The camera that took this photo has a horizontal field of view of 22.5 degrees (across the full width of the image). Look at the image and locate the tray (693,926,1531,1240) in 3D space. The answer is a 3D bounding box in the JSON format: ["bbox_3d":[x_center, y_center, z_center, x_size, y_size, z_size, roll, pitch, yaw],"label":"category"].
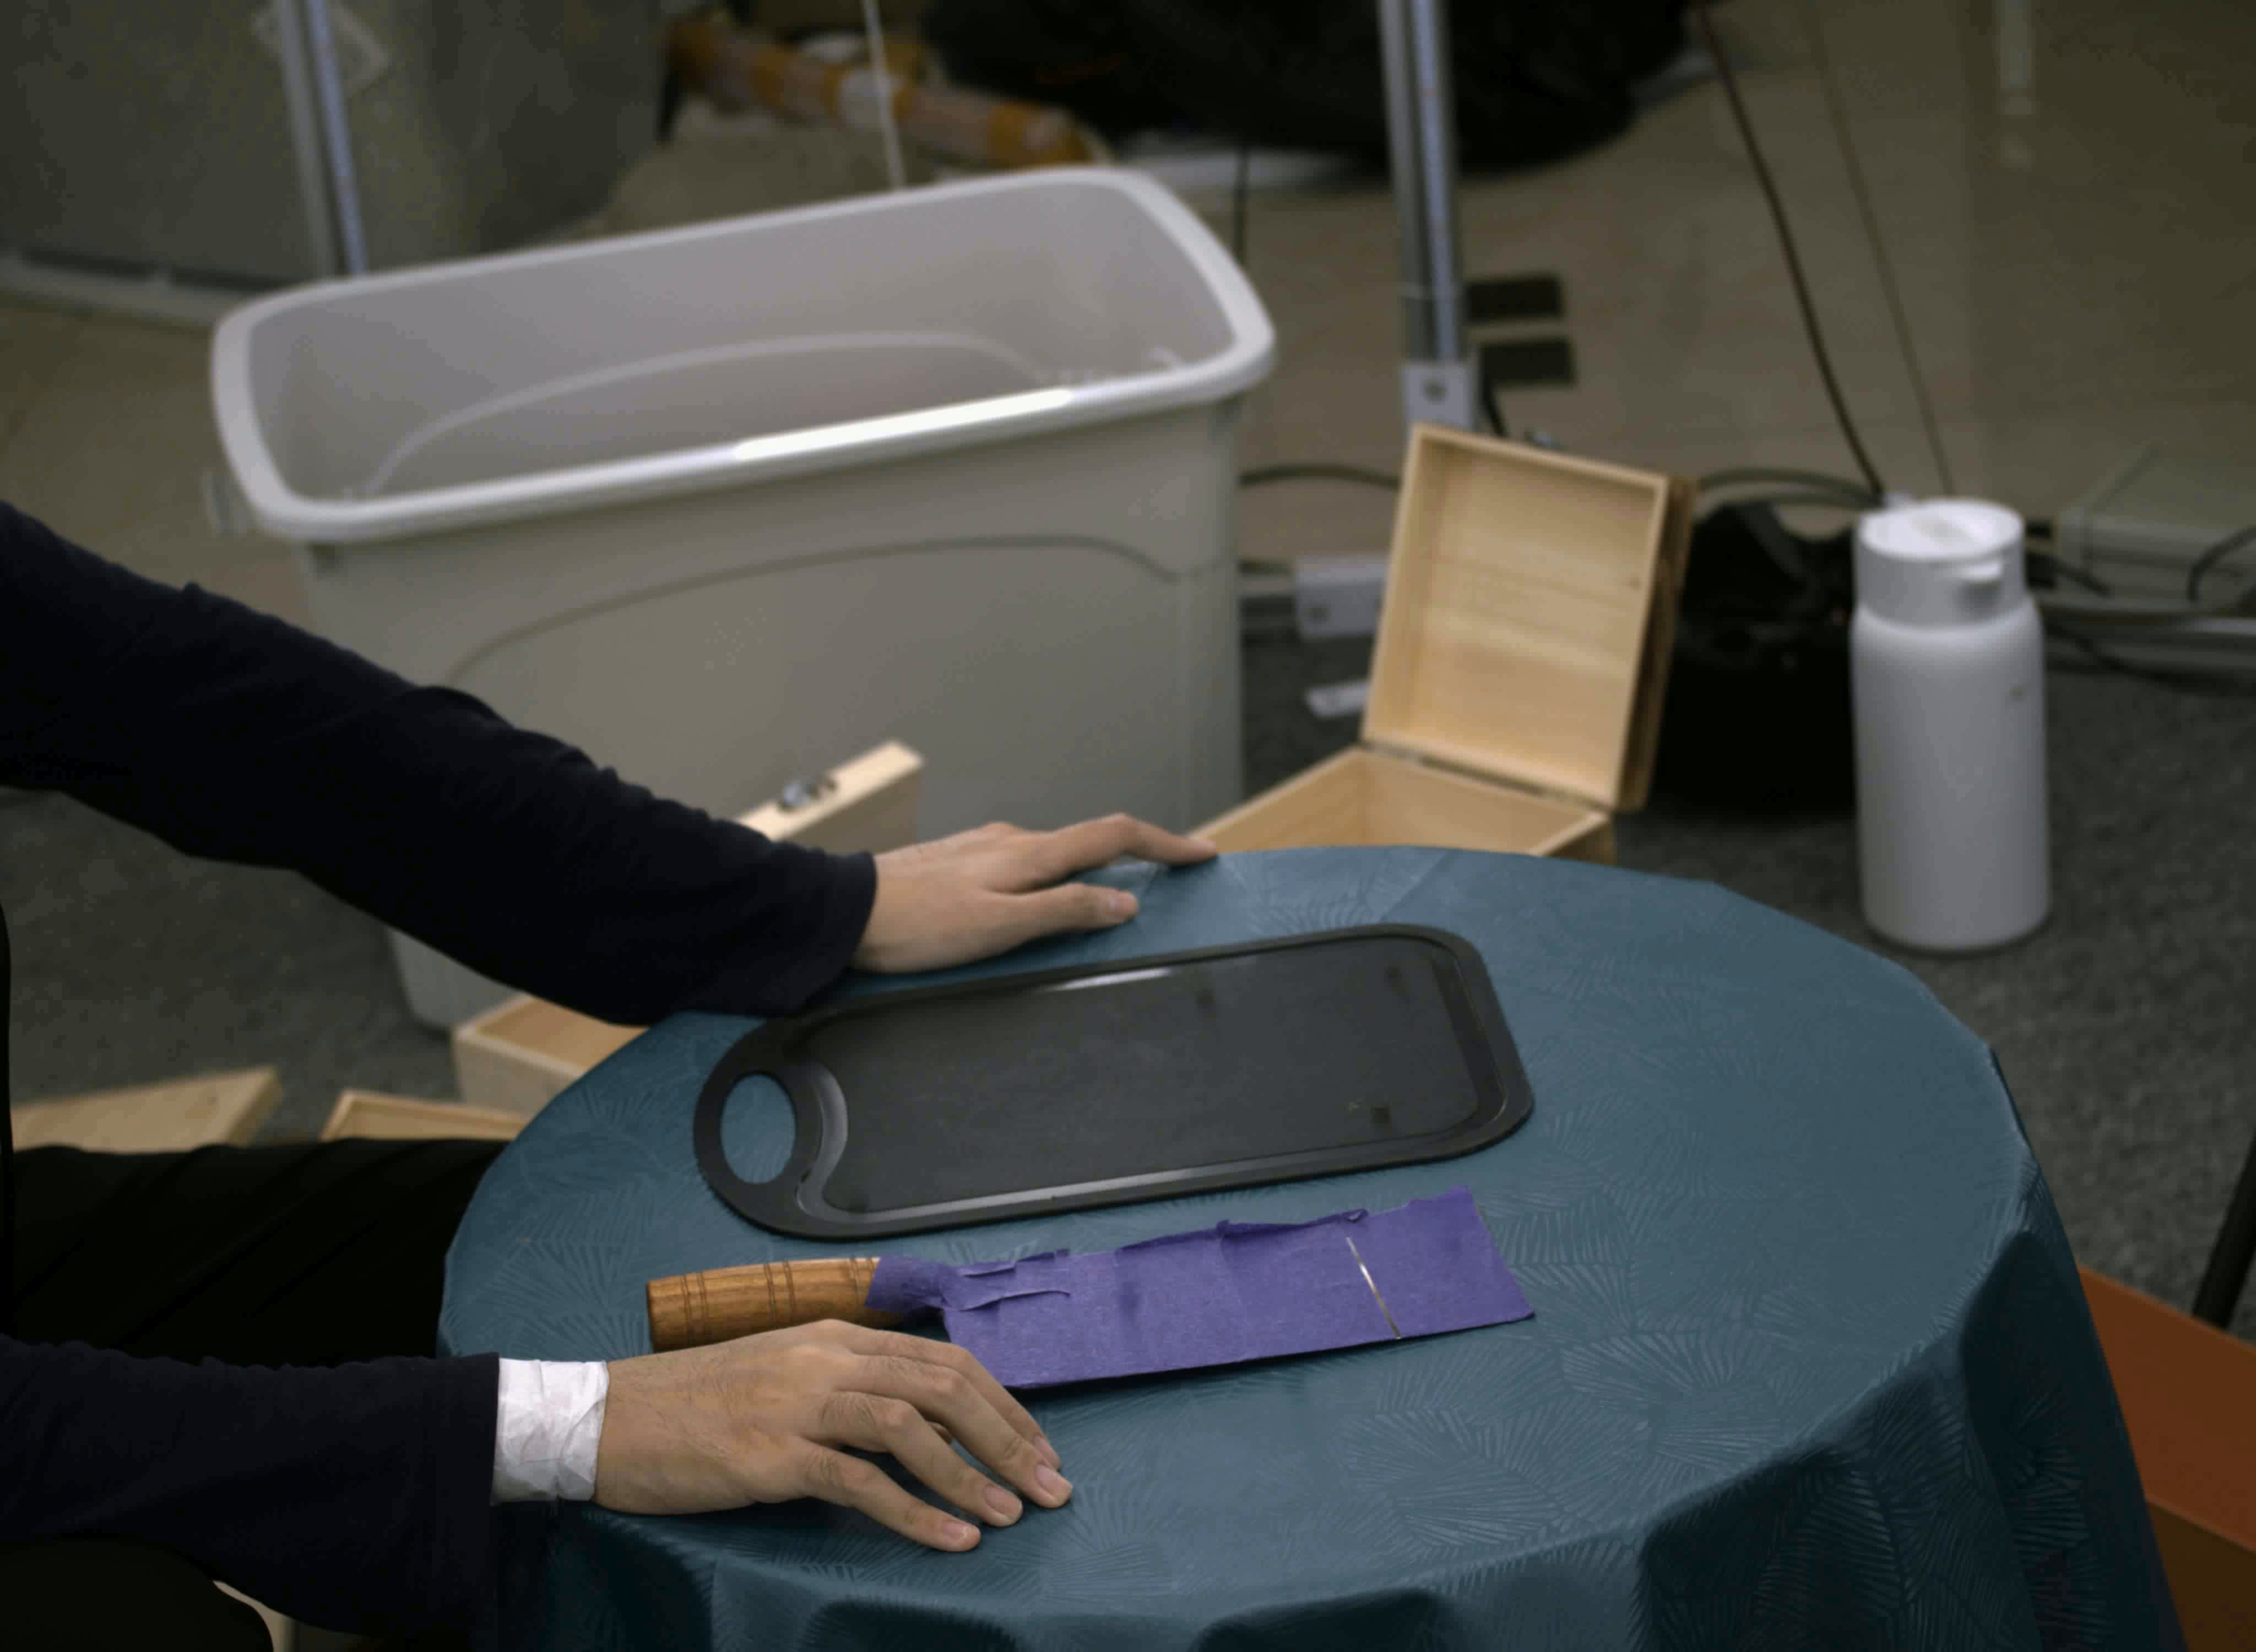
[{"bbox_3d":[-0.010,0.099,2.233,0.325,0.010,0.208,-8,24,-2],"label":"tray"}]

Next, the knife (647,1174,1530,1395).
[{"bbox_3d":[-0.014,0.172,2.053,0.314,0.033,0.102,-9,25,-7],"label":"knife"}]
